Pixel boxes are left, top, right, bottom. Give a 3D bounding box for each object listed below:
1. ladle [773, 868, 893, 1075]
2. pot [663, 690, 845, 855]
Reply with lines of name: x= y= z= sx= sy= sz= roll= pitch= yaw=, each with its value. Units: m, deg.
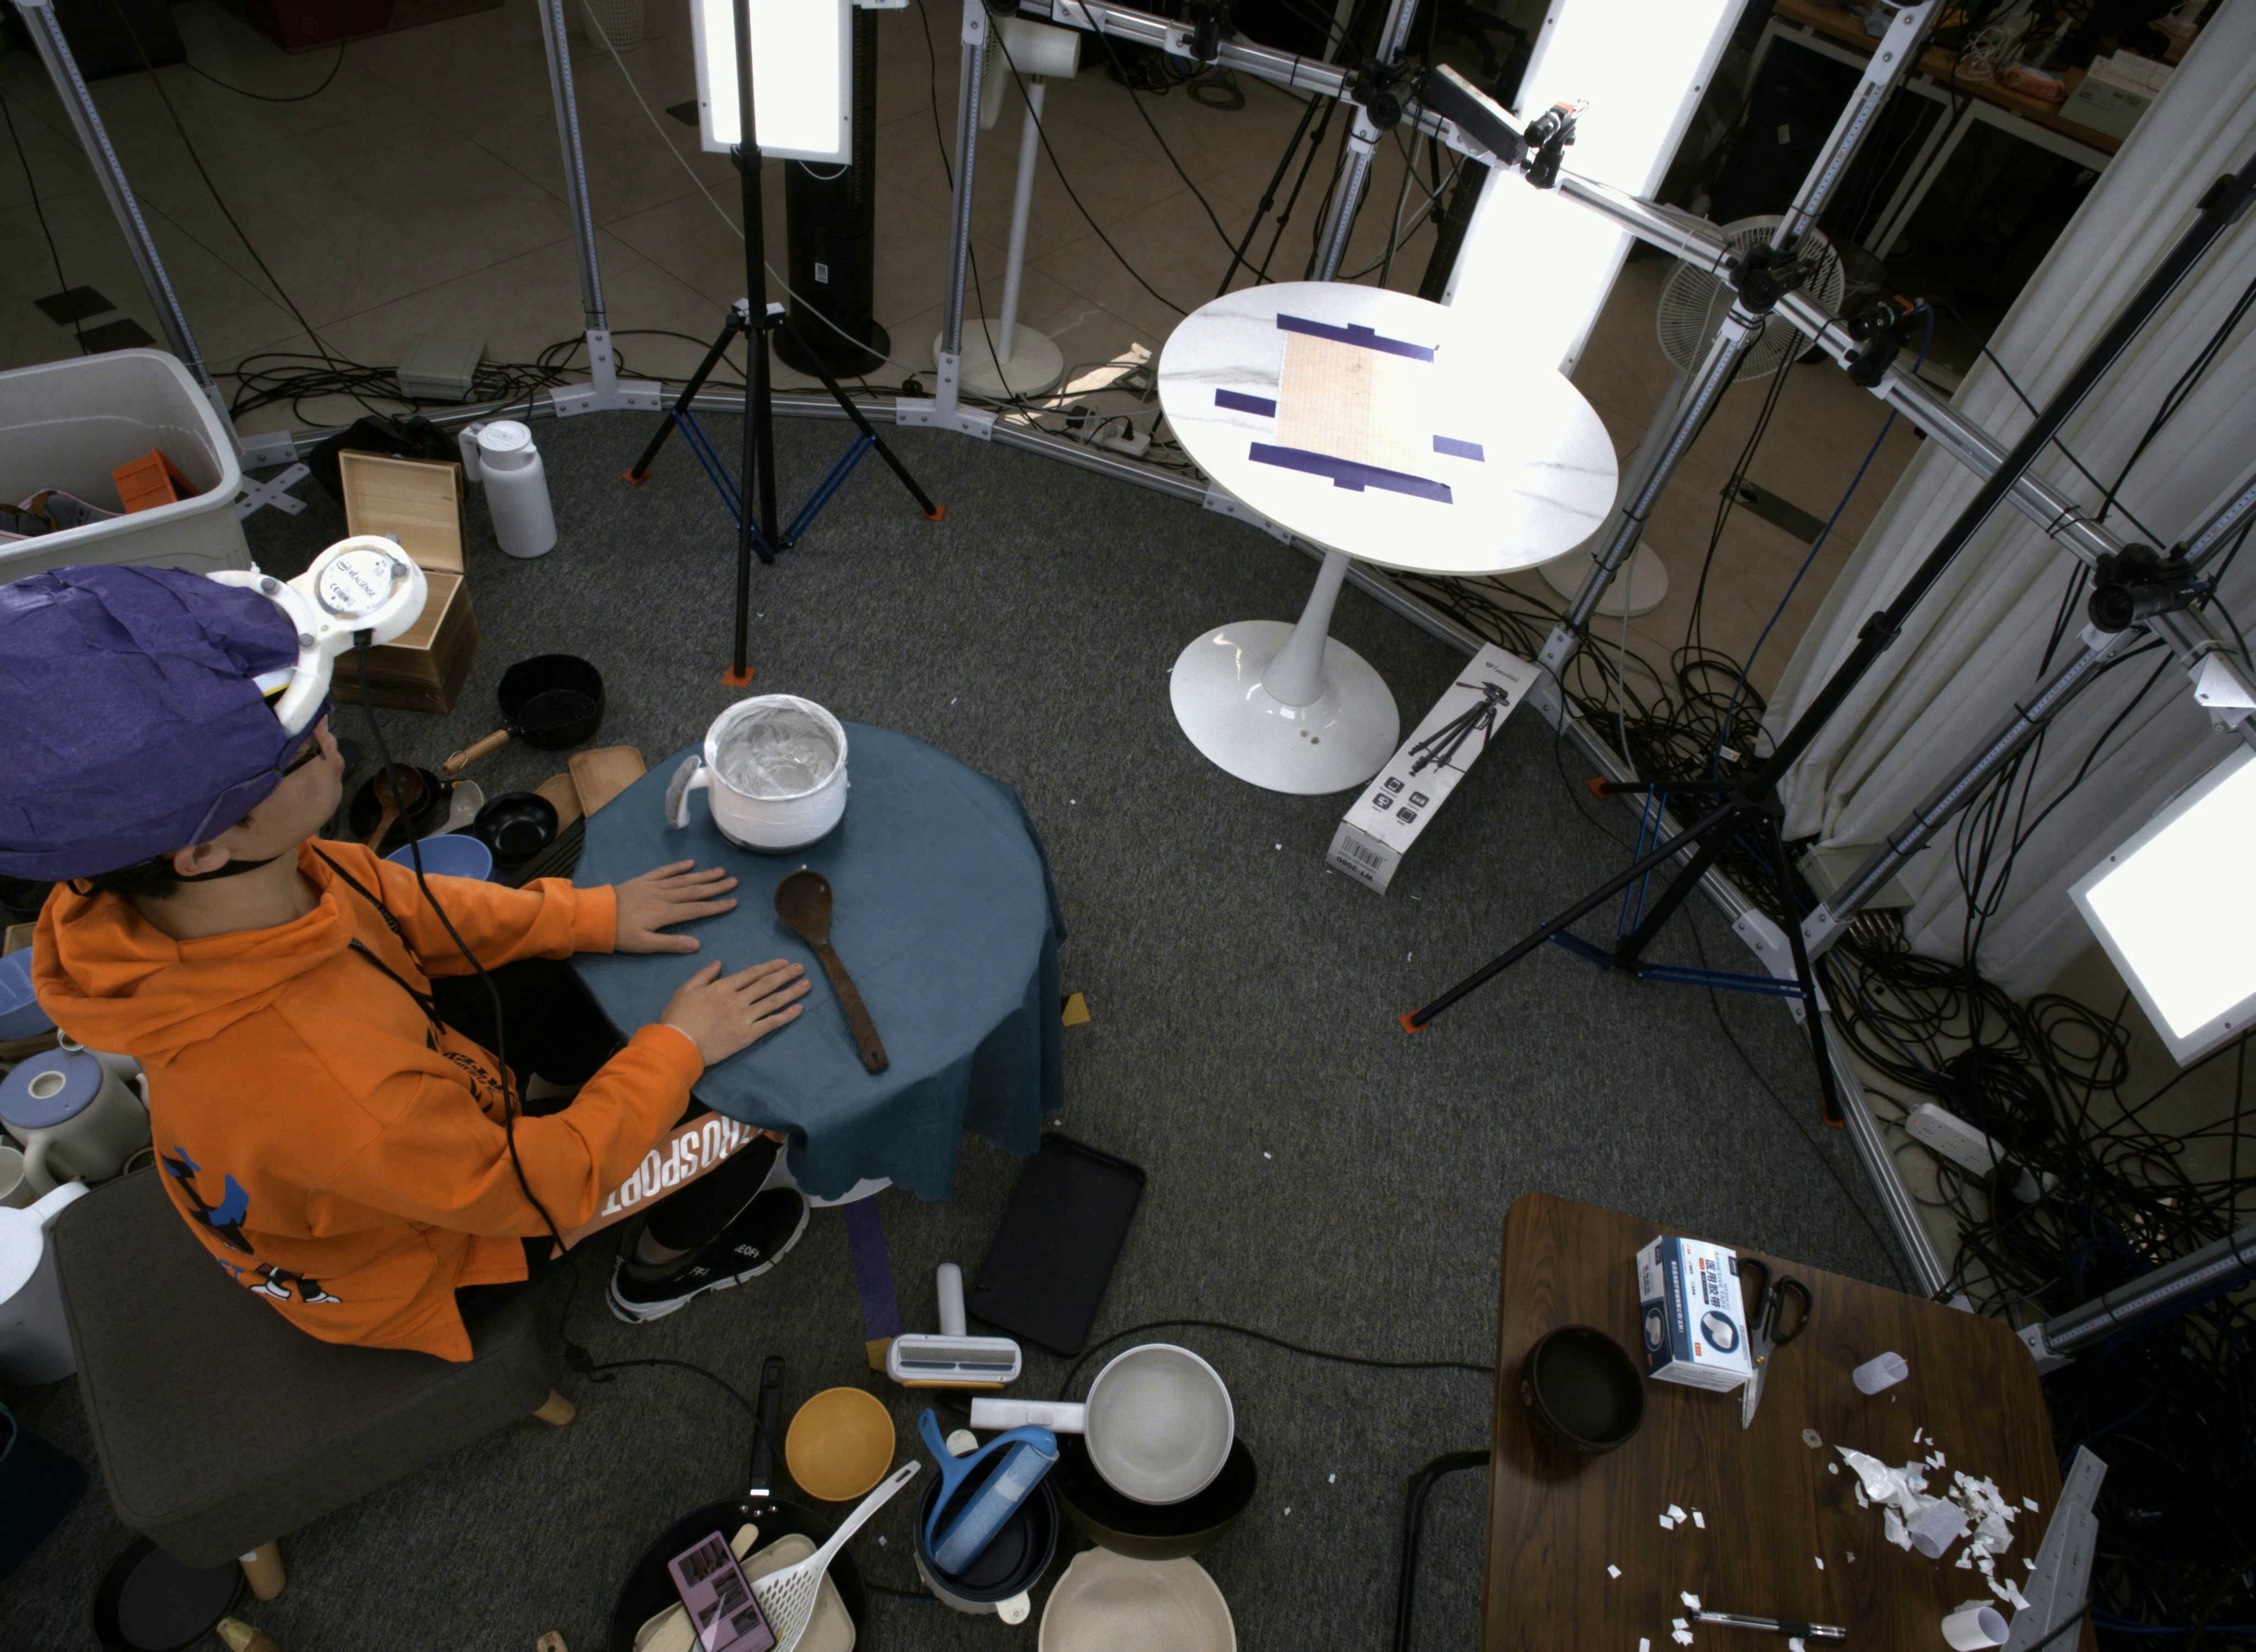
ladle: x=-0.350 y=0.167 z=1.563 sx=0.076 sy=0.073 sz=0.267 roll=-21 pitch=61 yaw=-24
pot: x=-0.479 y=-0.059 z=1.654 sx=0.235 sy=0.139 sz=0.174 roll=-14 pitch=57 yaw=-24
